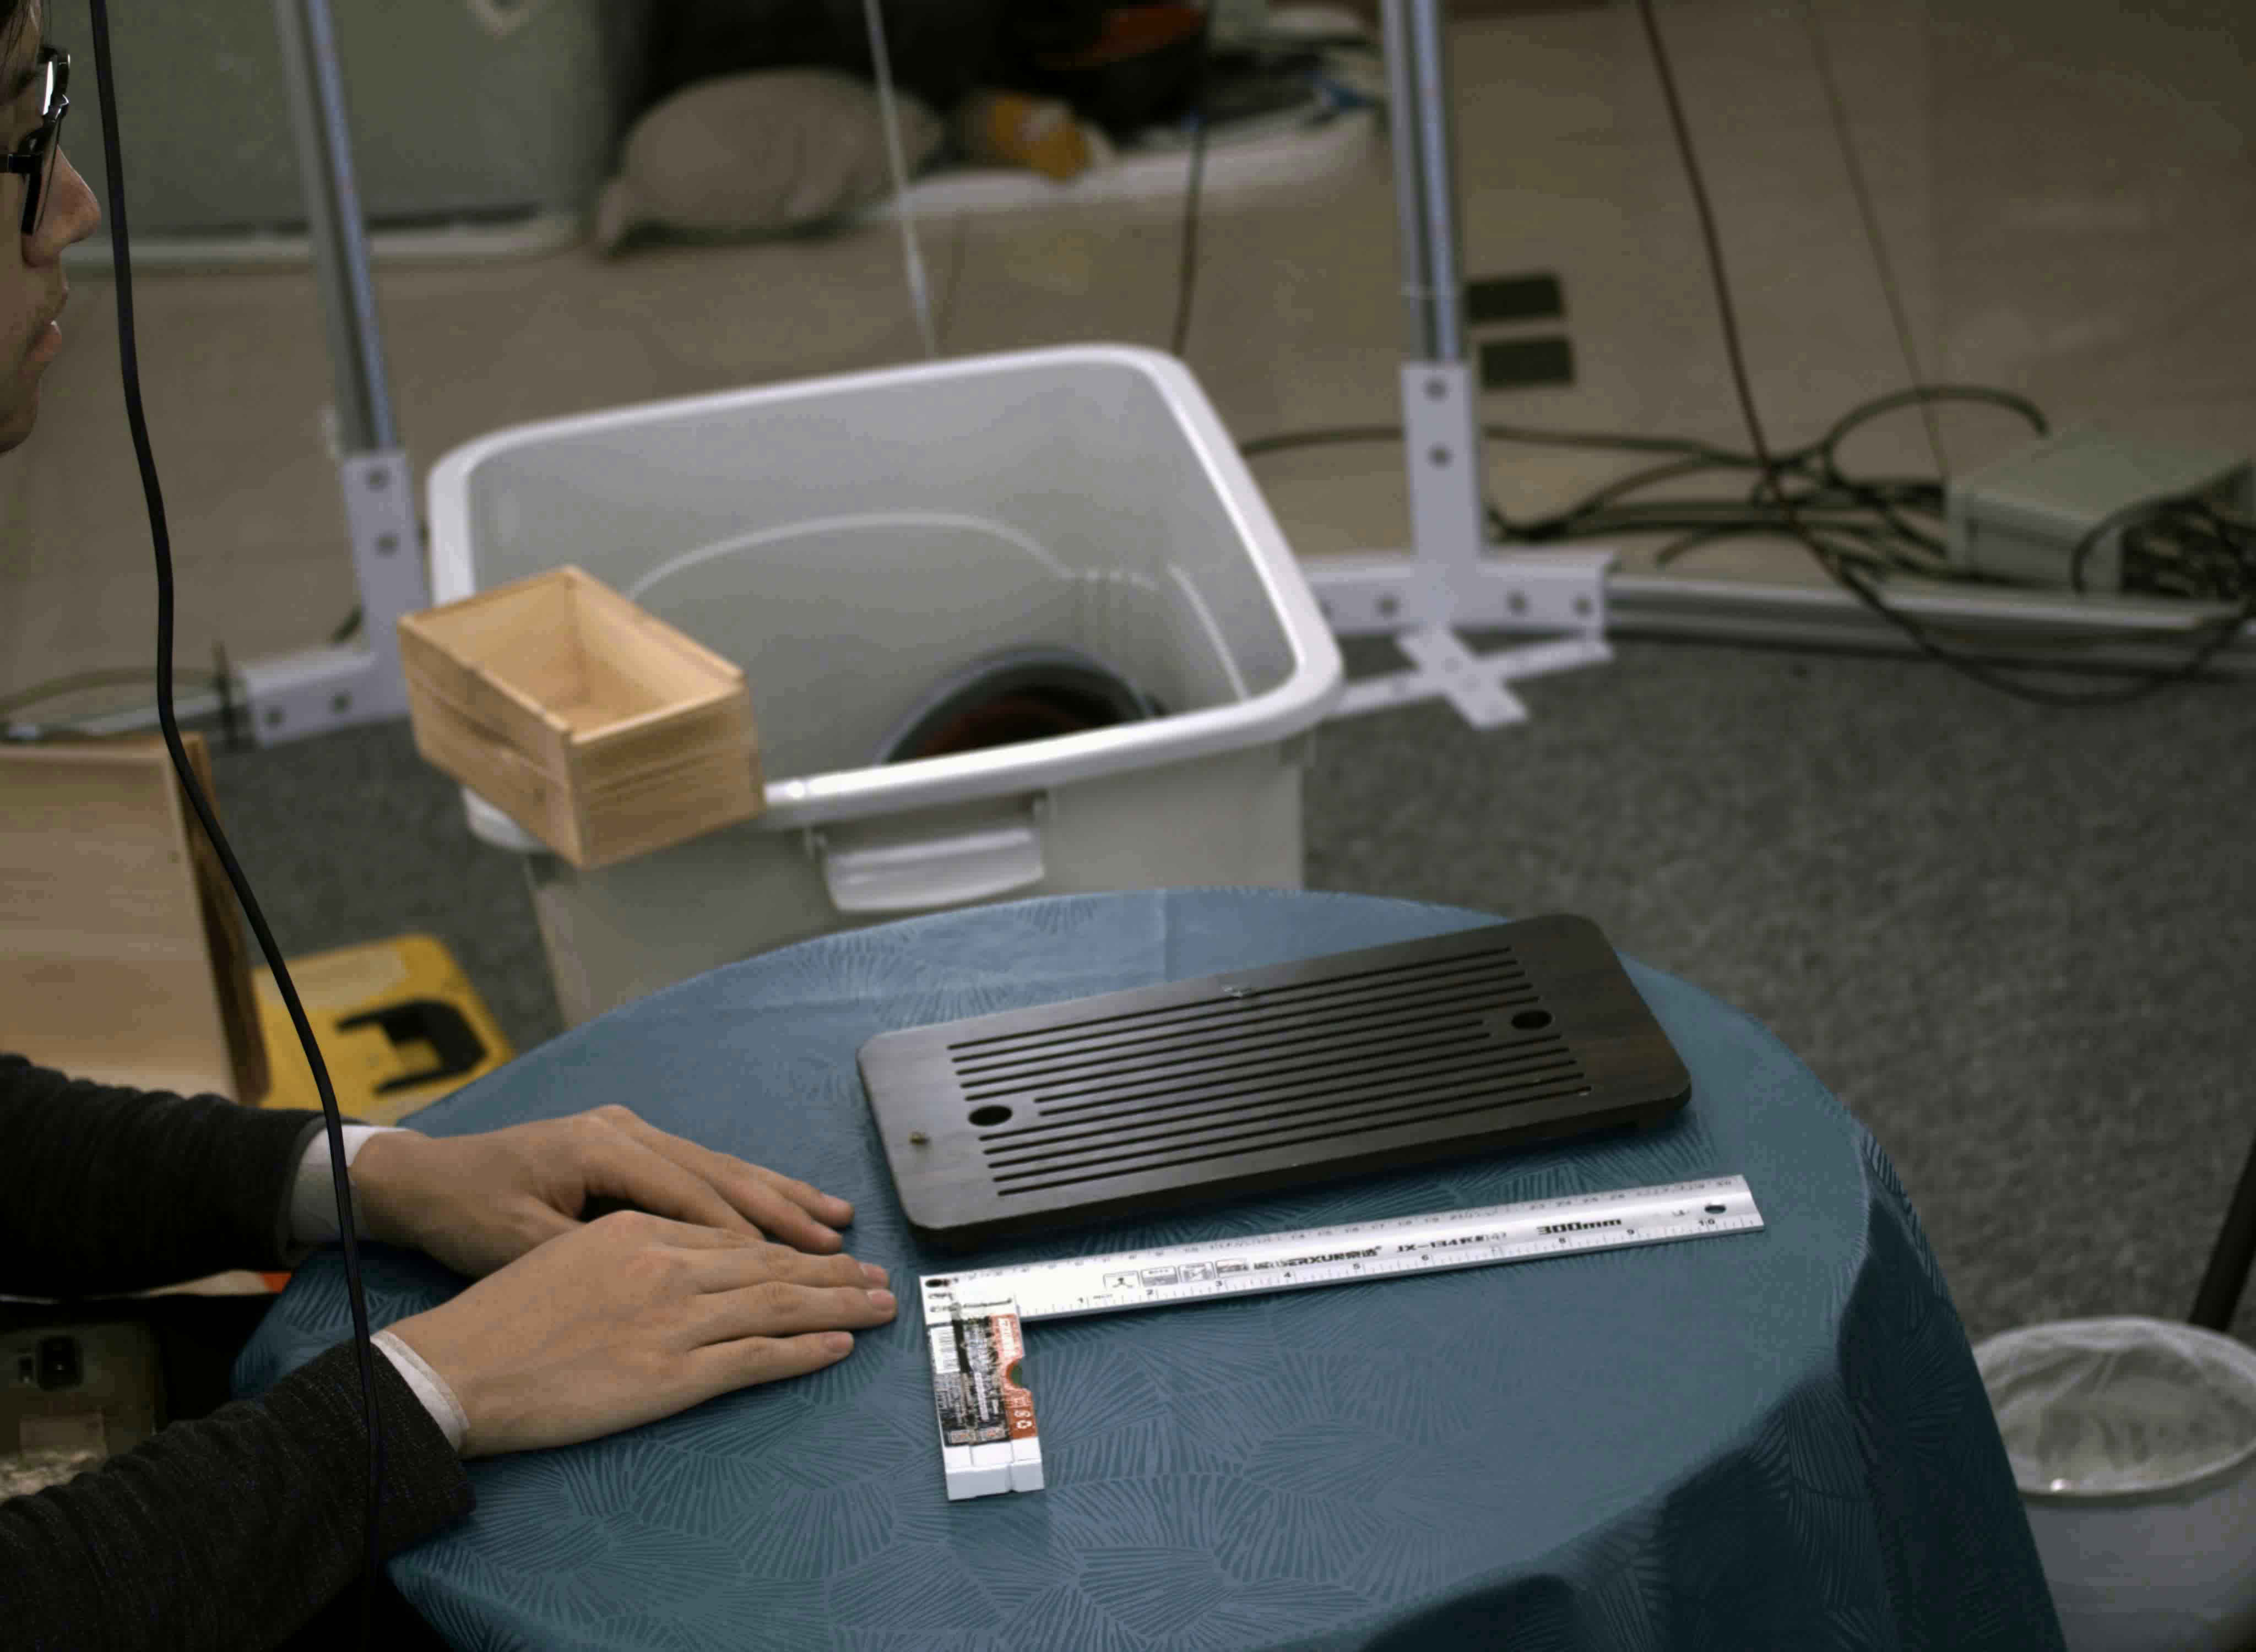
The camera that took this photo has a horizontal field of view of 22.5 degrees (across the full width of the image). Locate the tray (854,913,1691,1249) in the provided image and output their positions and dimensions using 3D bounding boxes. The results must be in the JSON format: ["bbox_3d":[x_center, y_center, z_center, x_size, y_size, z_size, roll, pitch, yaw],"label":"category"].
[{"bbox_3d":[0.053,0.098,2.200,0.305,0.019,0.167,-10,26,-7],"label":"tray"}]

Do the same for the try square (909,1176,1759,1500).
[{"bbox_3d":[0.079,0.179,2.032,0.312,0.016,0.150,-7,25,-3],"label":"try square"}]
